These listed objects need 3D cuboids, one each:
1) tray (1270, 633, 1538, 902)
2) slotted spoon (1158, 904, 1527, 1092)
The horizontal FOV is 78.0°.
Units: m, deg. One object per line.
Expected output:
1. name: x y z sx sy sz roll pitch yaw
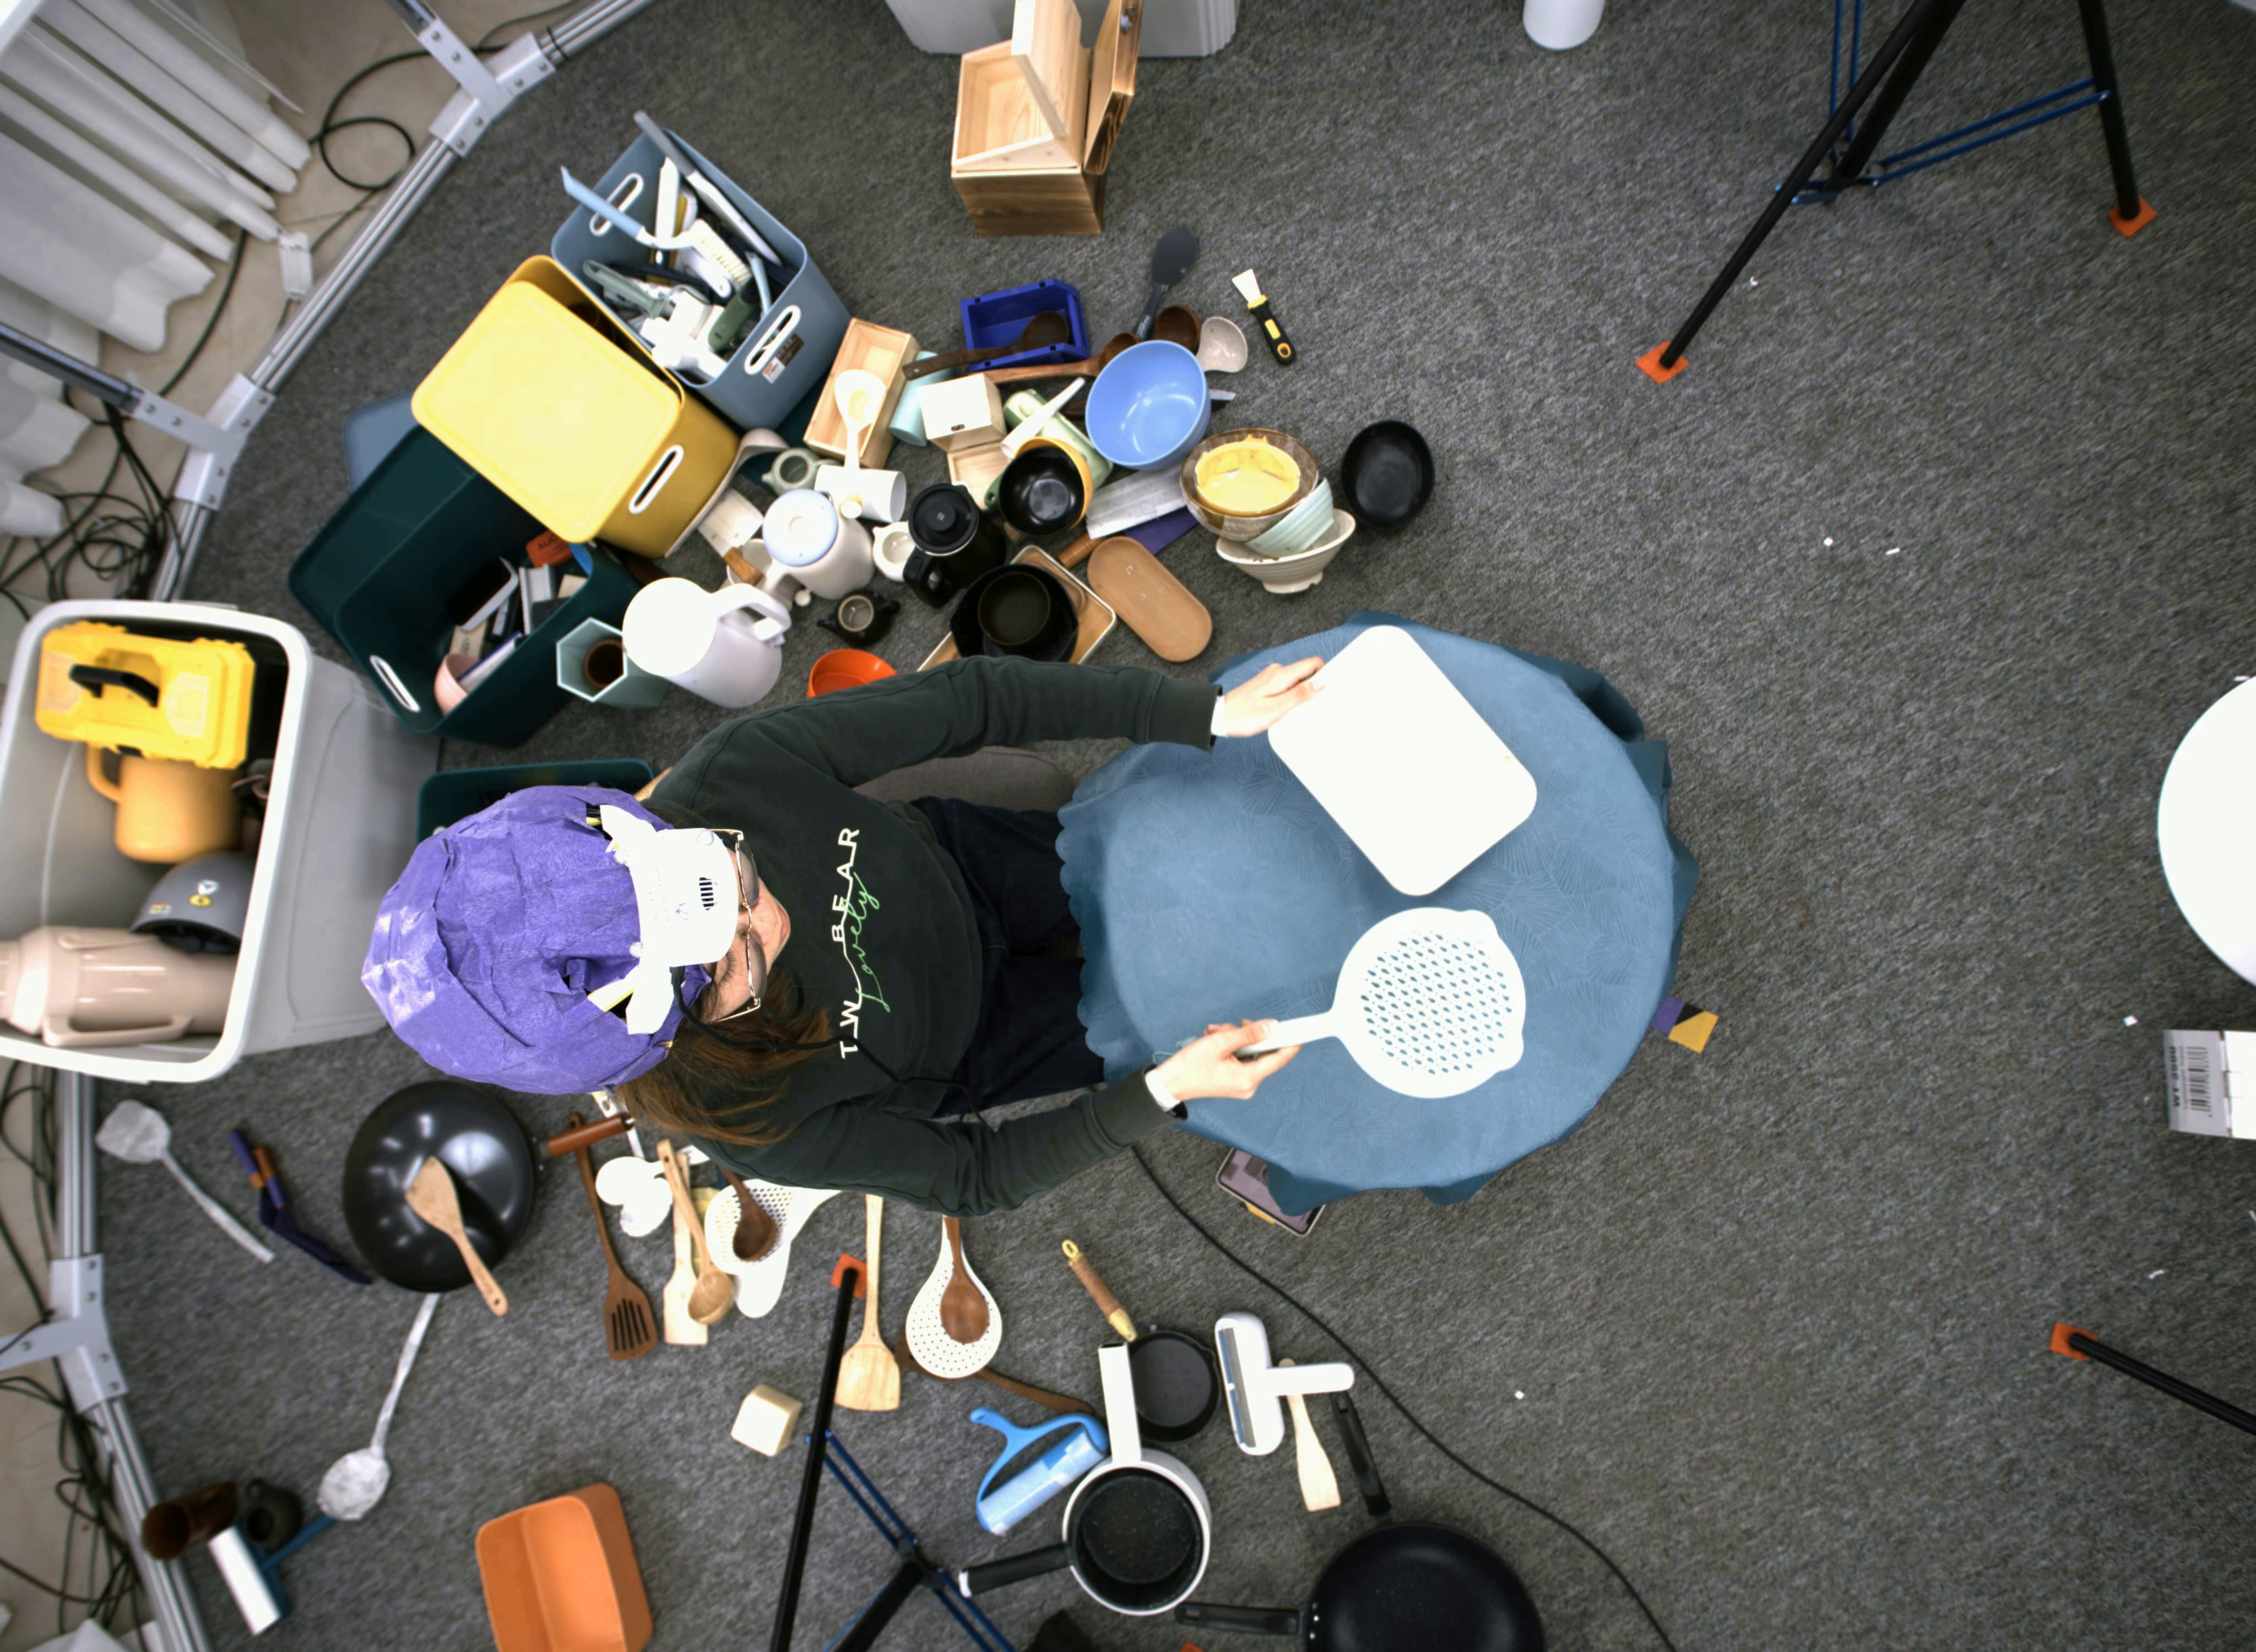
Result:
1. tray: 0.268 -0.057 1.341 0.173 0.017 0.240 -40 95 17
2. slotted spoon: 0.191 0.182 1.295 0.361 0.076 0.167 -14 74 14
